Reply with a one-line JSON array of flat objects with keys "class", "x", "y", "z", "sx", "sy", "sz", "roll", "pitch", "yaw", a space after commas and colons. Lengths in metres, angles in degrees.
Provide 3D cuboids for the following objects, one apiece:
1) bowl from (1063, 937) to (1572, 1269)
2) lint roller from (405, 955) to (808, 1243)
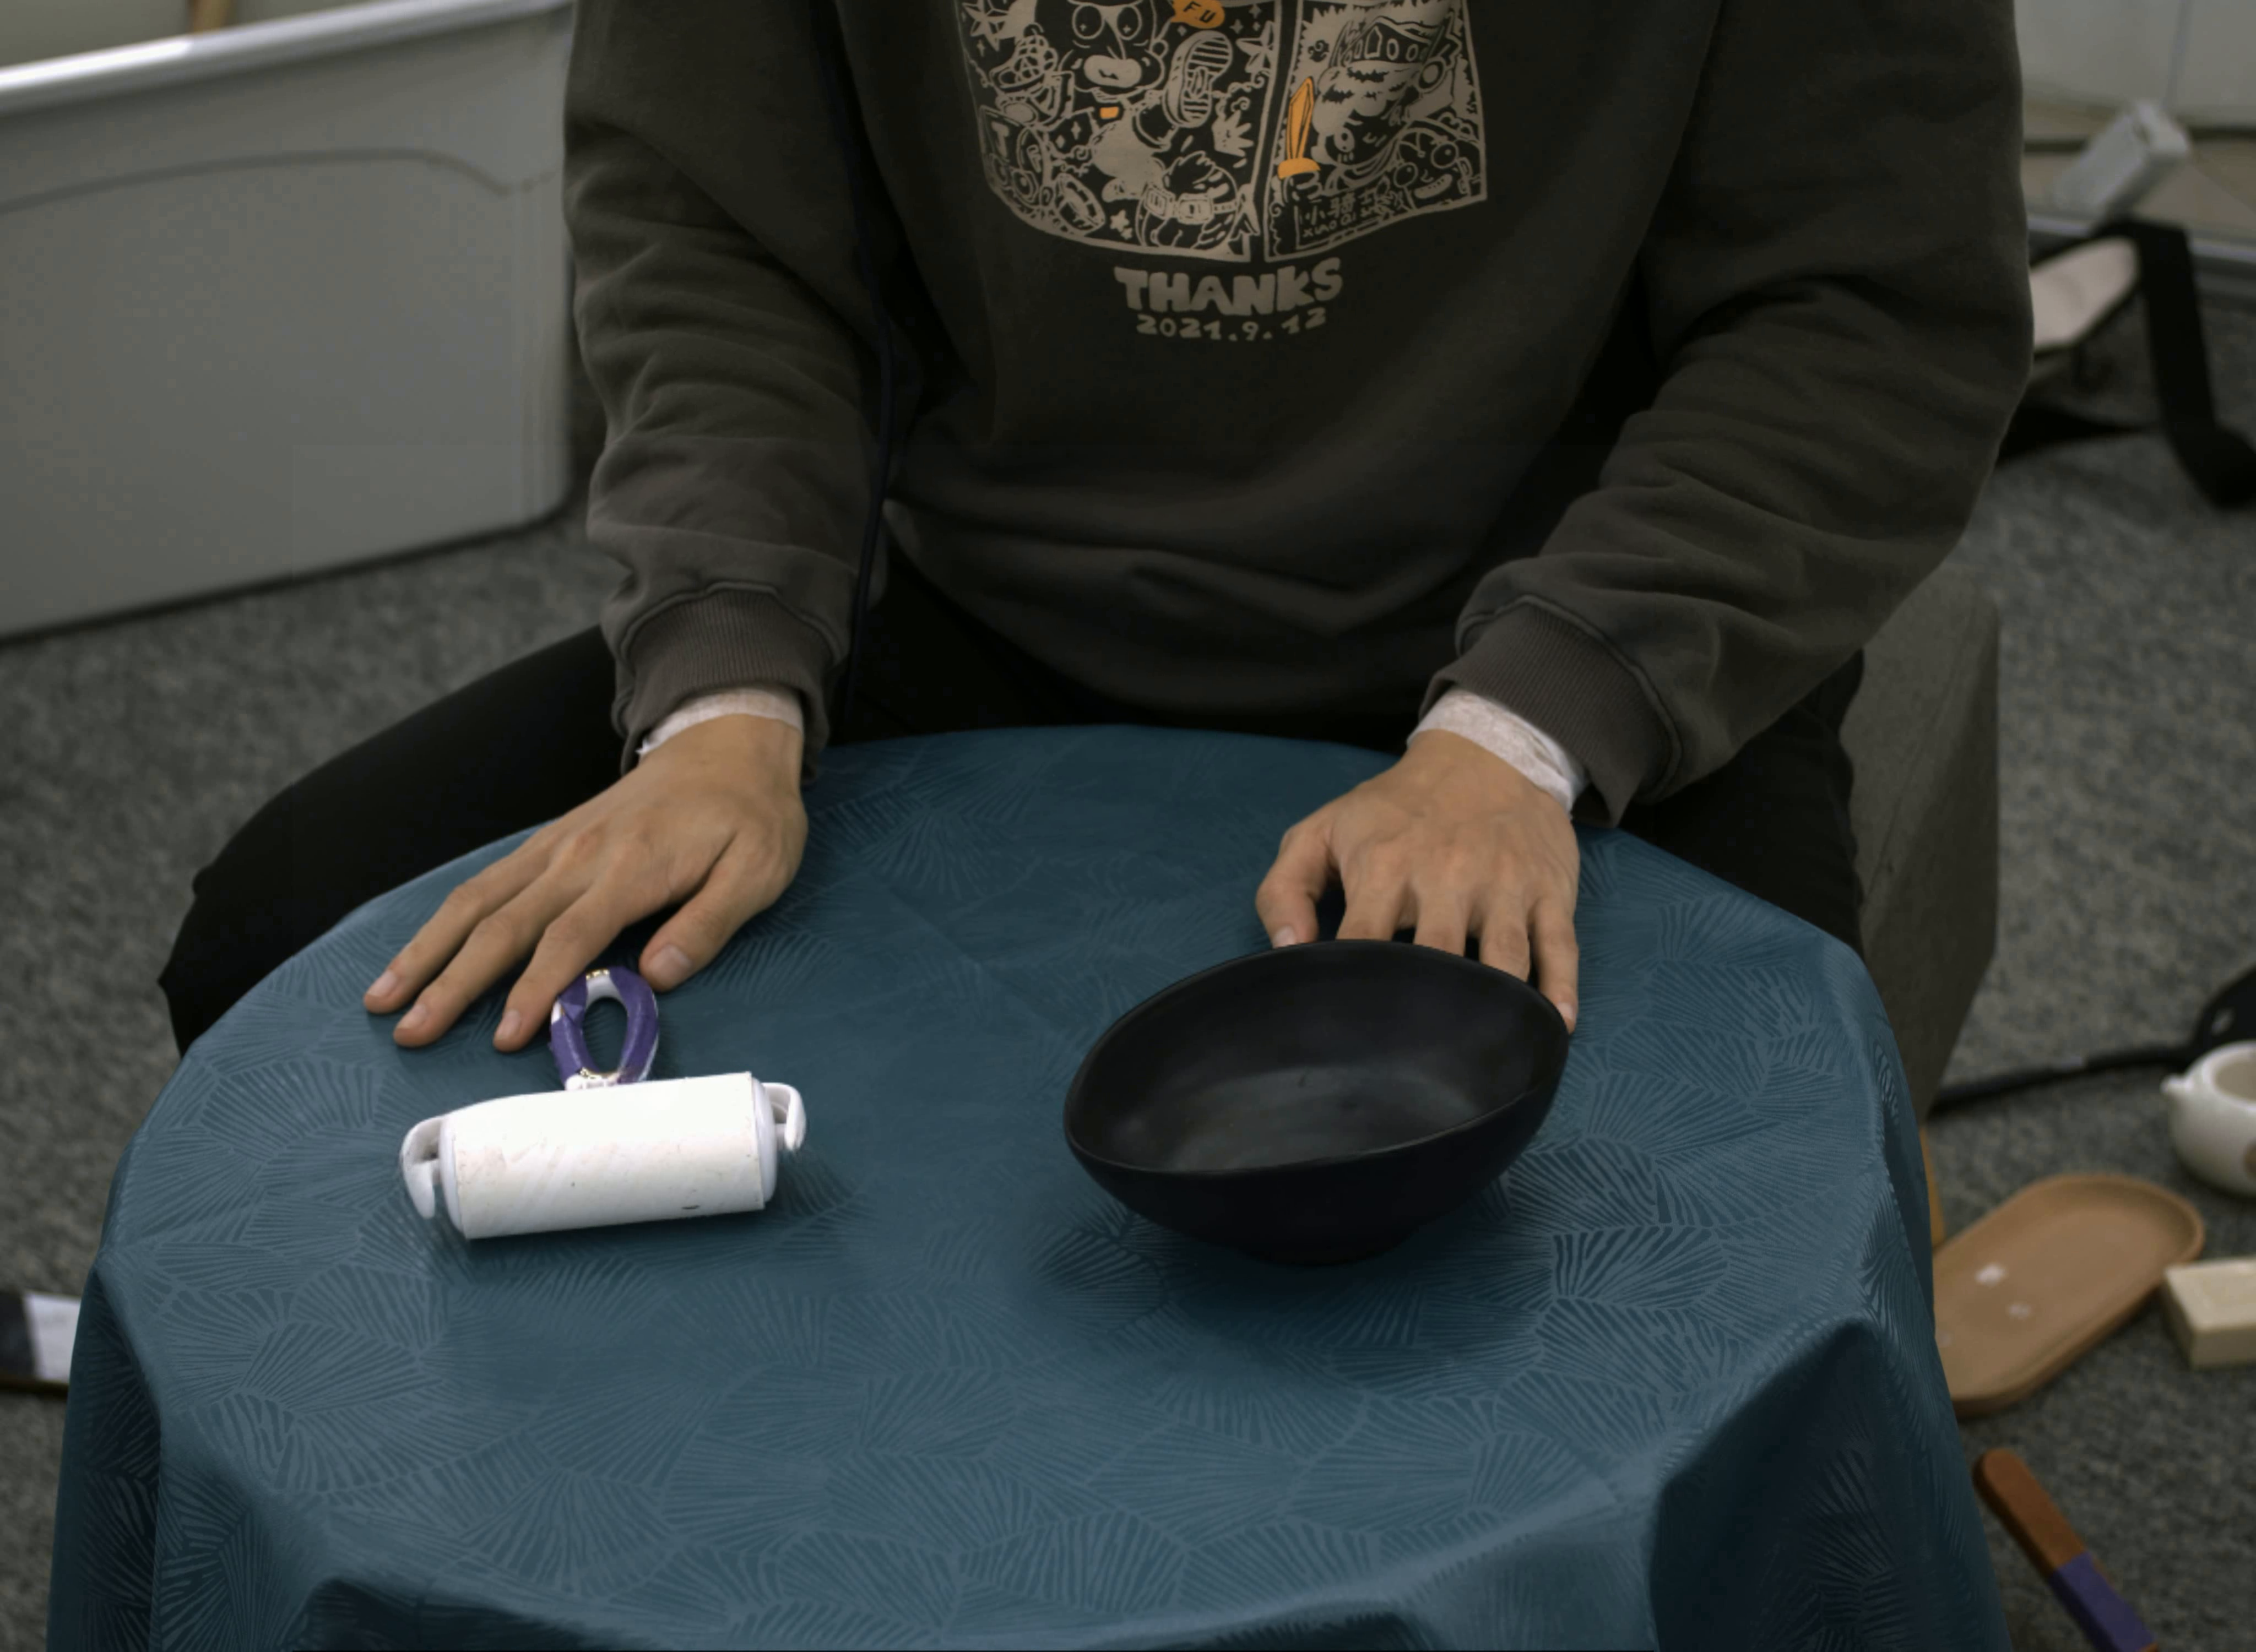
[{"class": "bowl", "x": 0.064, "y": 0.100, "z": 1.828, "sx": 0.171, "sy": 0.066, "sz": 0.138, "roll": -14, "pitch": 28, "yaw": -17}, {"class": "lint roller", "x": -0.176, "y": 0.078, "z": 1.910, "sx": 0.132, "sy": 0.049, "sz": 0.183, "roll": -5, "pitch": 30, "yaw": -2}]
